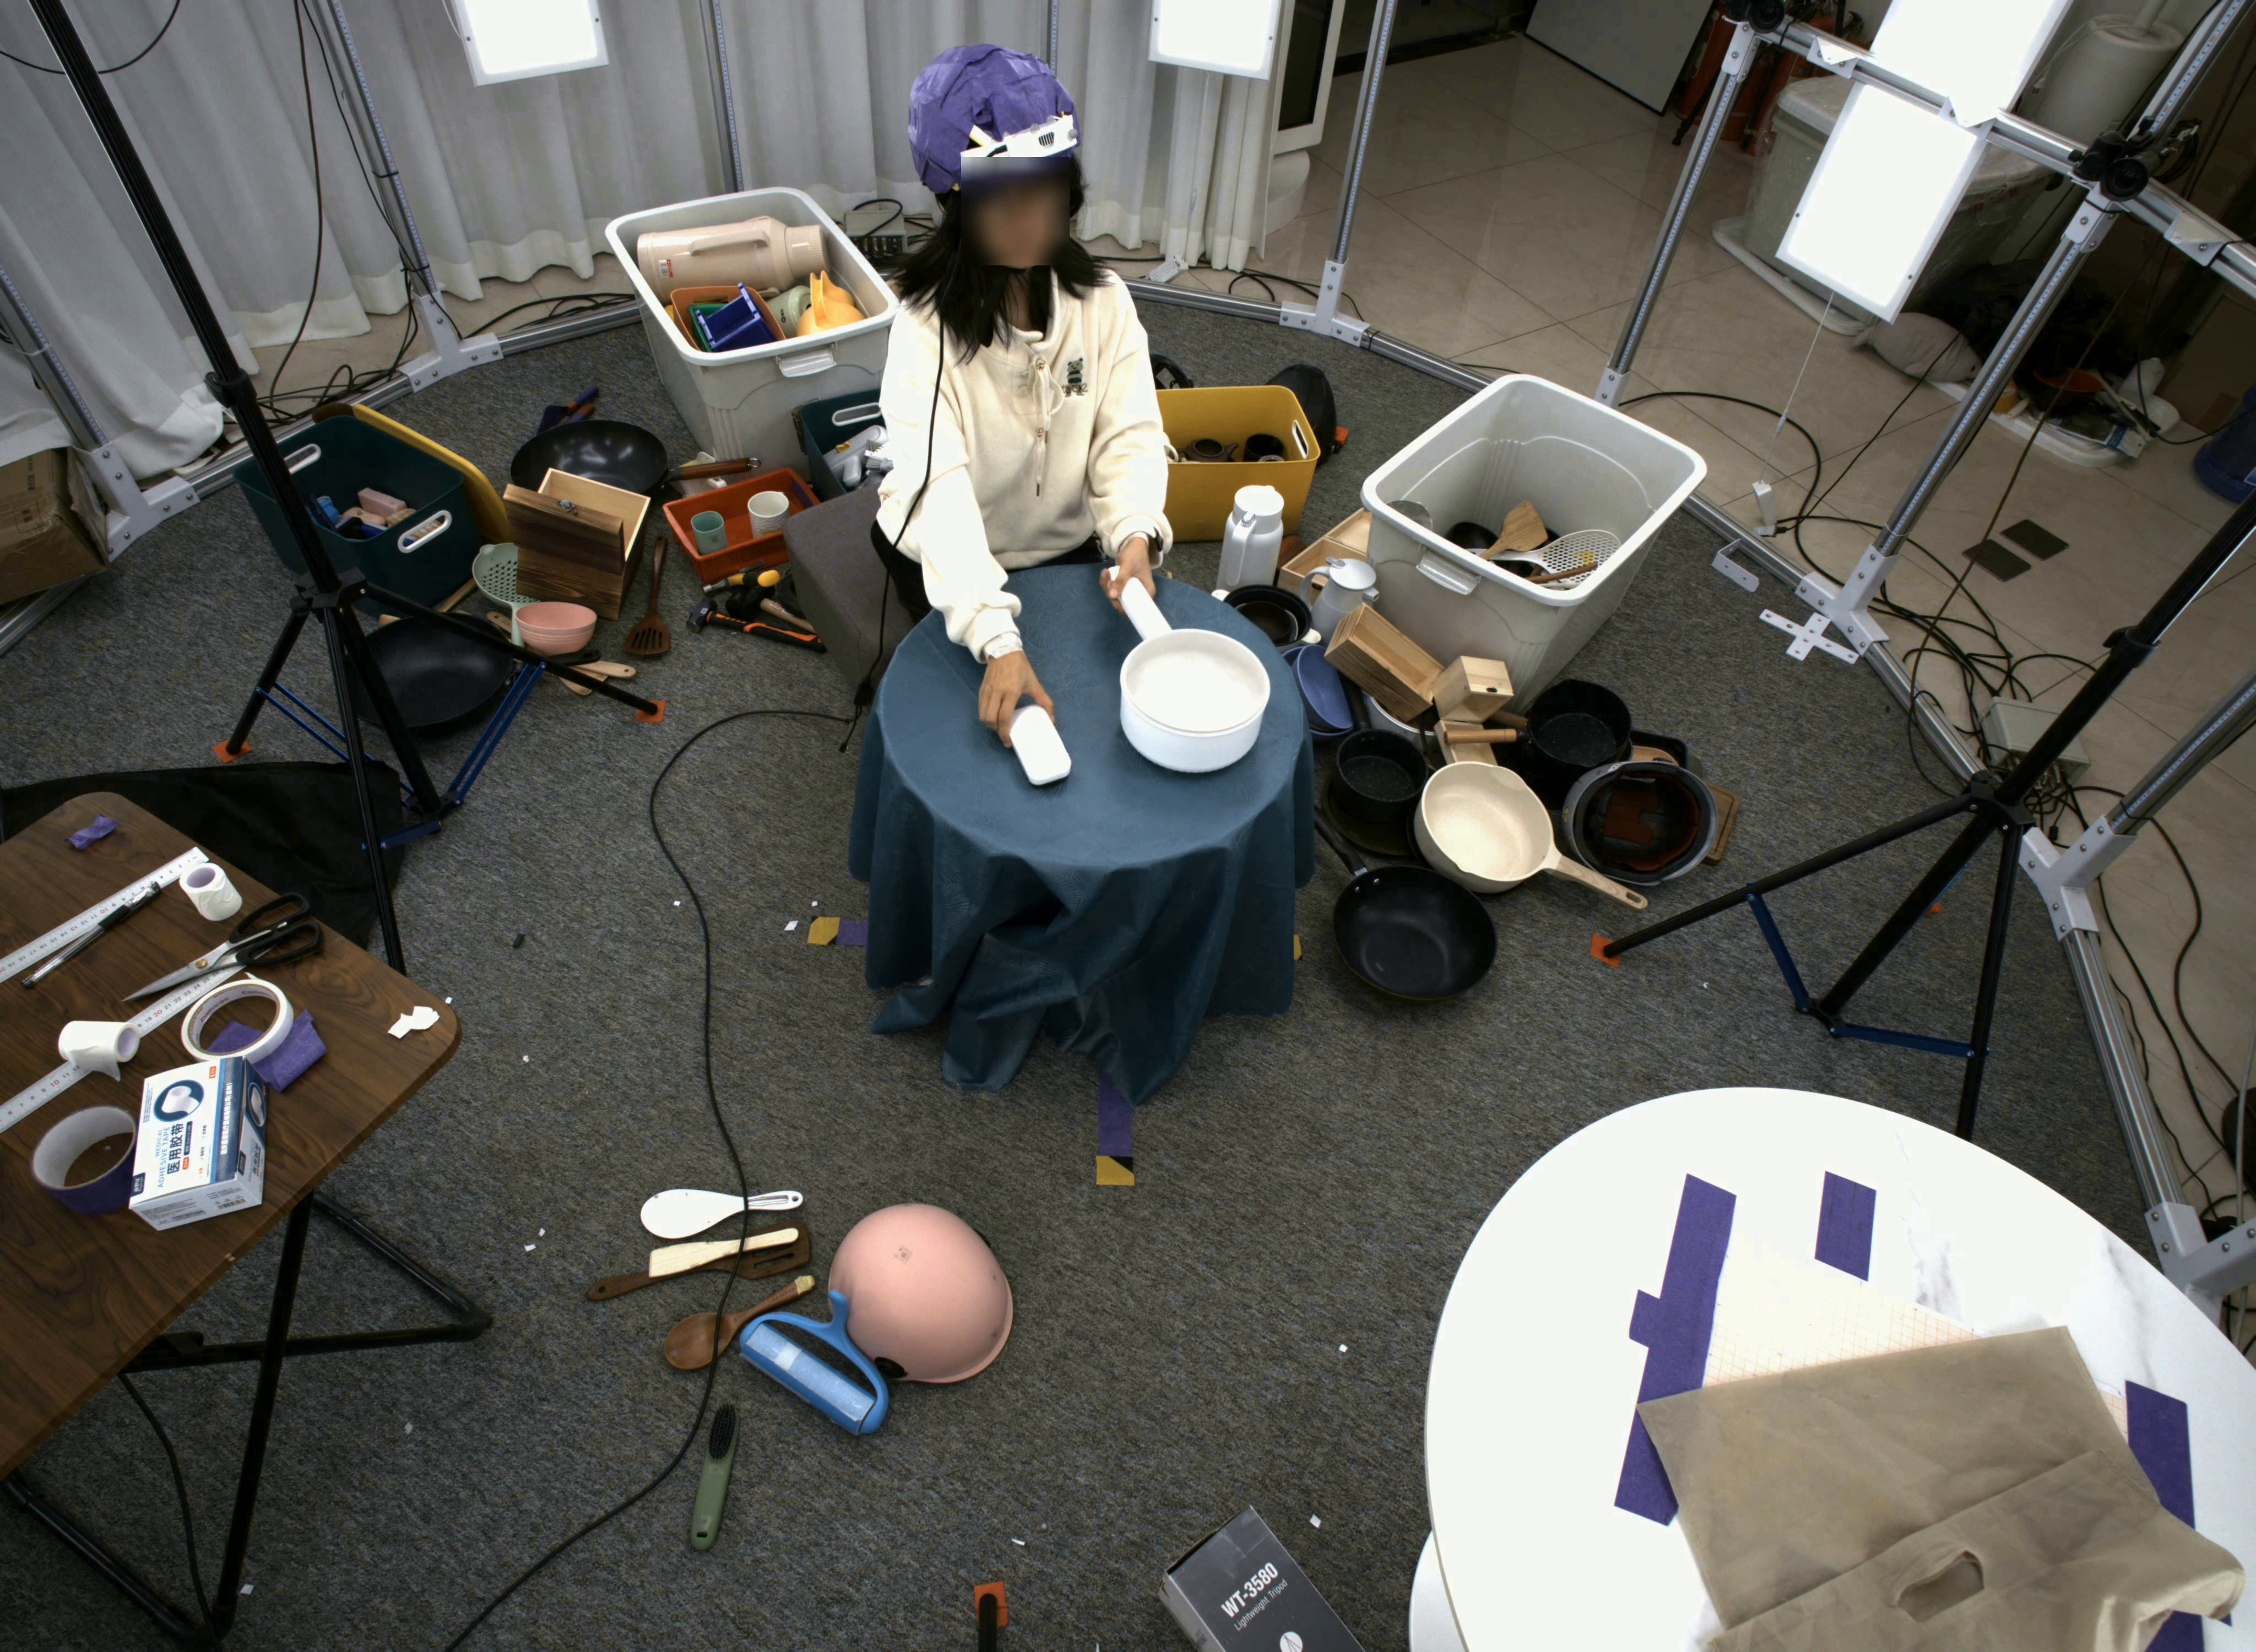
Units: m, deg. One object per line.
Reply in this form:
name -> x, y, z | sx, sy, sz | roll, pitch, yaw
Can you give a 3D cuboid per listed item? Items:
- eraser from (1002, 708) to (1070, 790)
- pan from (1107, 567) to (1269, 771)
eraser -> -0.124, -0.108, 1.734 | 0.063, 0.034, 0.134 | -15, 52, -16
pan -> 0.055, -0.220, 1.800 | 0.201, 0.099, 0.363 | -16, 50, -19
